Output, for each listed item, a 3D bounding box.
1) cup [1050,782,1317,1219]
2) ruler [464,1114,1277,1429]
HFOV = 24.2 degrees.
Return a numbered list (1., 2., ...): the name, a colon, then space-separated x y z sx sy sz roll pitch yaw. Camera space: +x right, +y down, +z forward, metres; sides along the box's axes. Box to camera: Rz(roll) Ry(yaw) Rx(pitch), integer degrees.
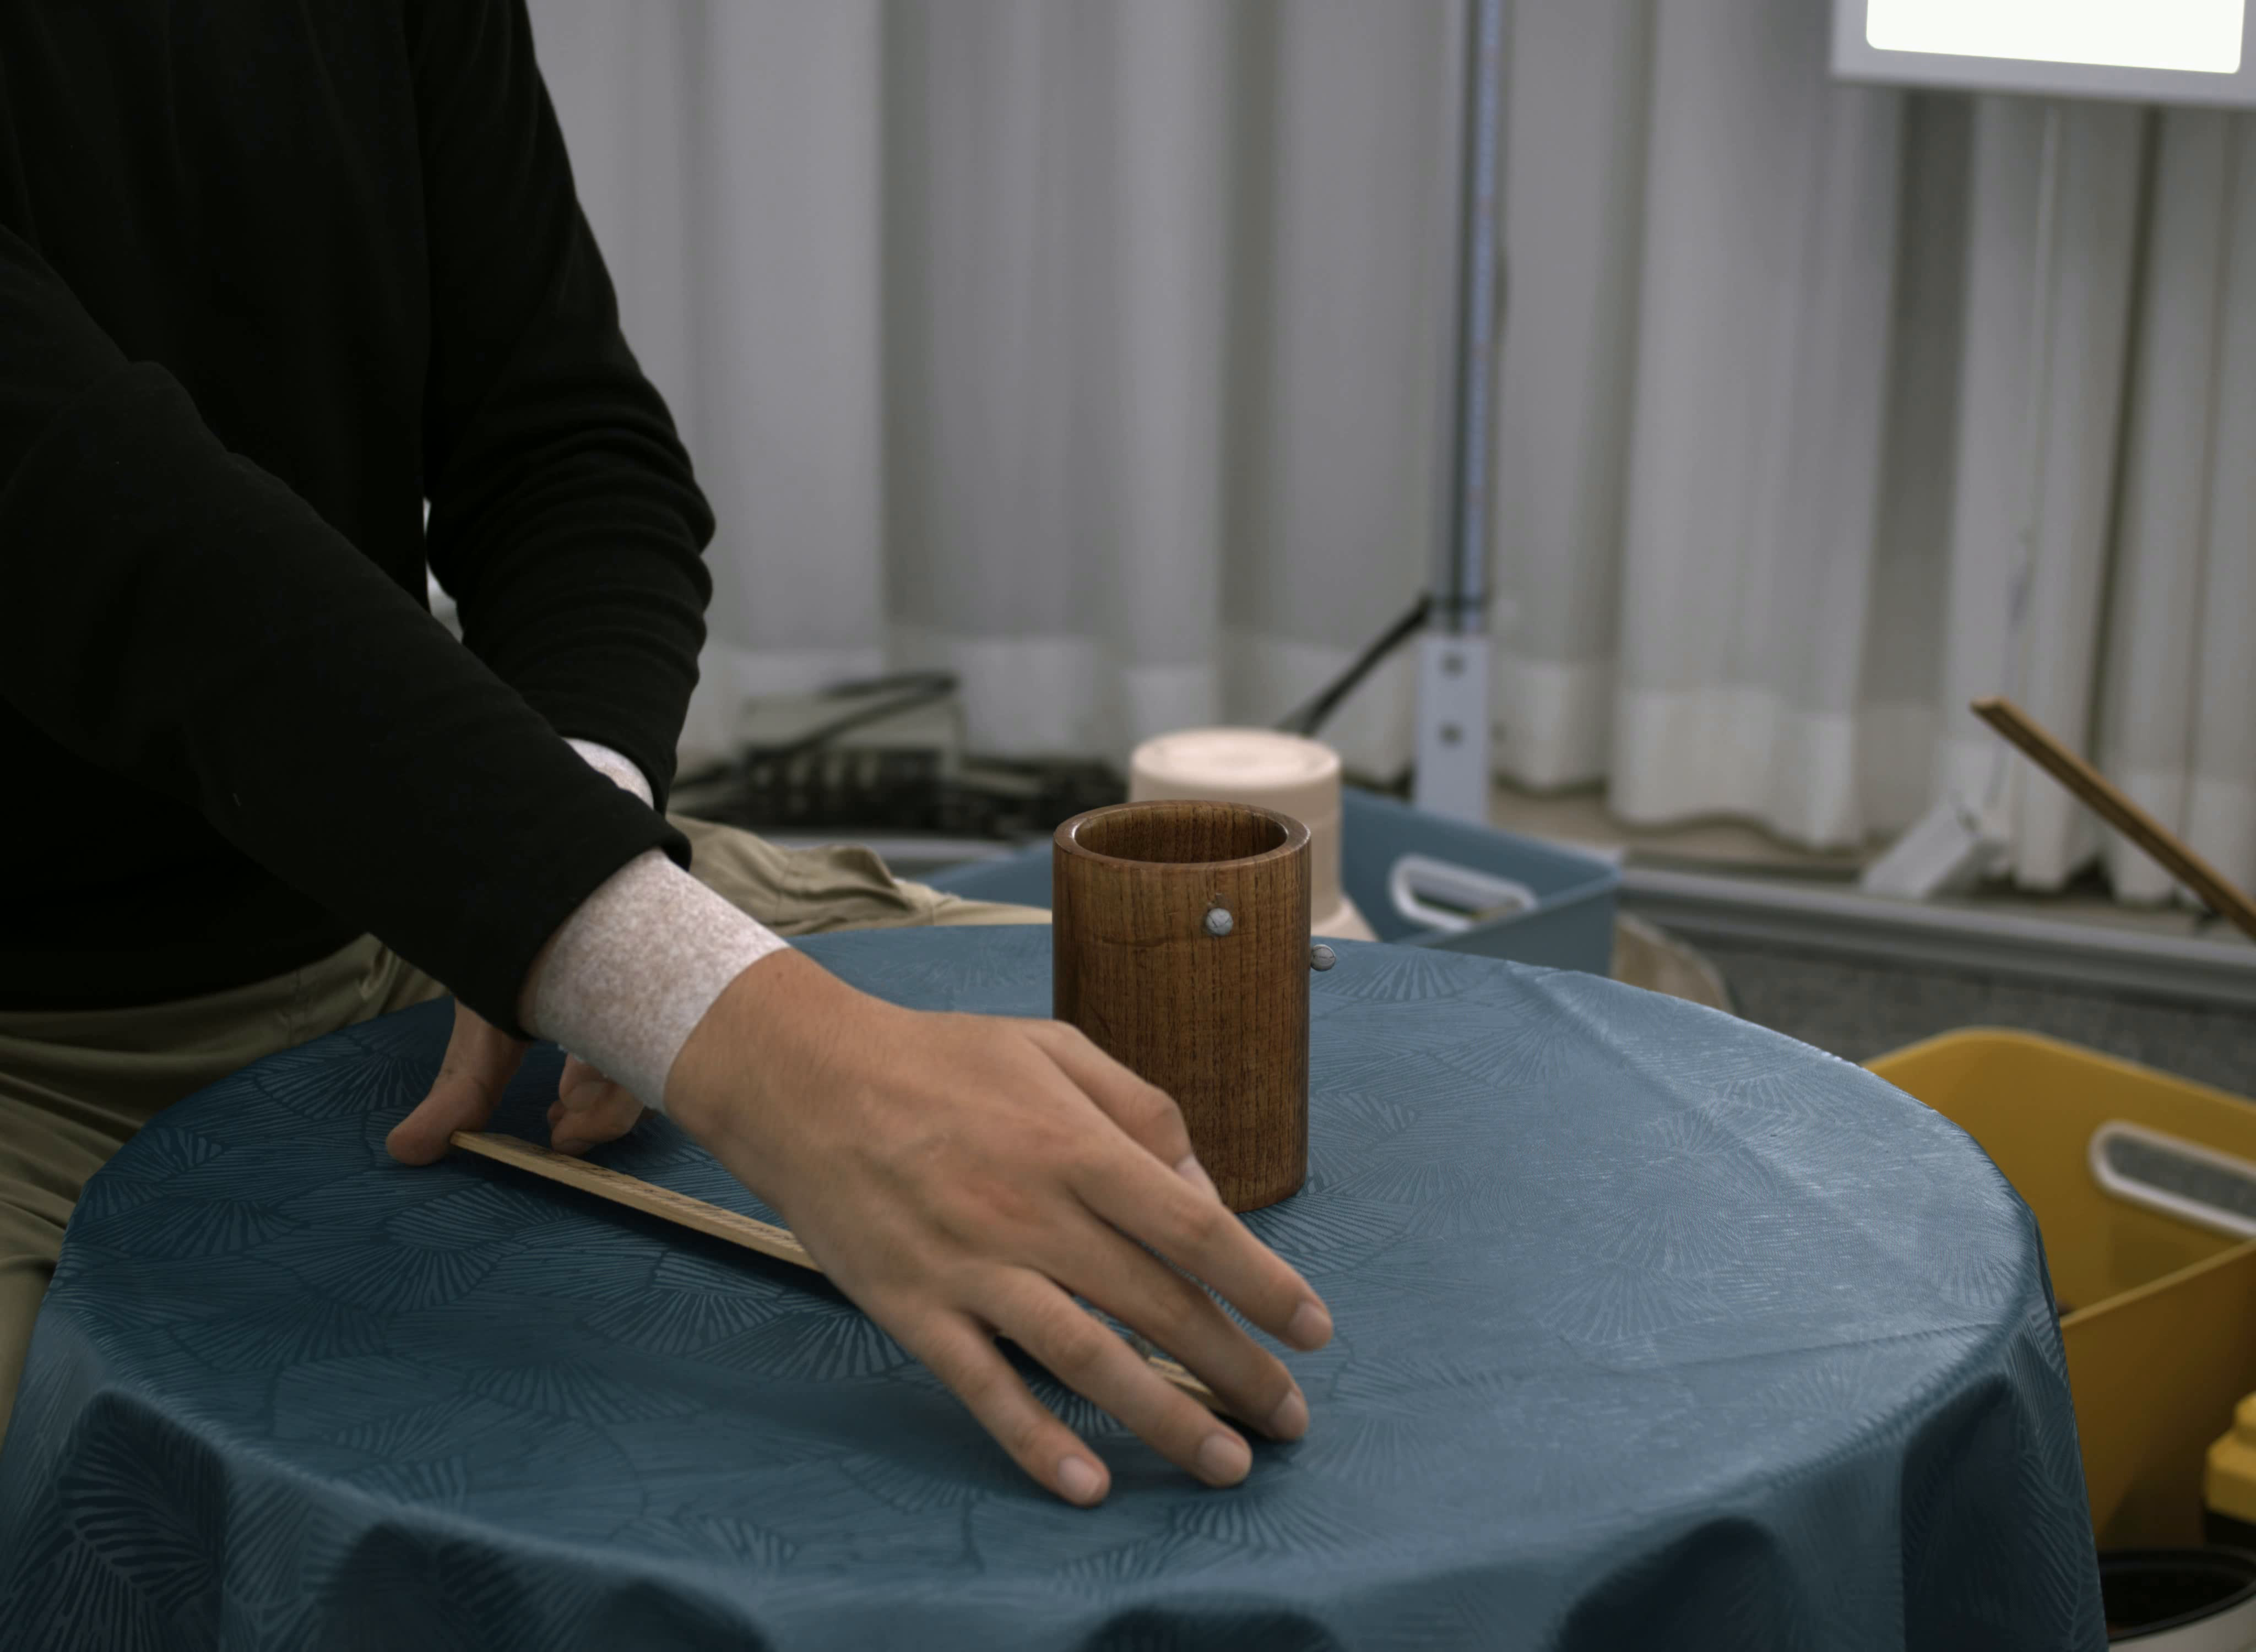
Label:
1. cup: 0.017 0.053 1.617 0.087 0.119 0.087 1 15 0
2. ruler: -0.083 0.125 1.540 0.327 0.022 0.028 15 -2 43
